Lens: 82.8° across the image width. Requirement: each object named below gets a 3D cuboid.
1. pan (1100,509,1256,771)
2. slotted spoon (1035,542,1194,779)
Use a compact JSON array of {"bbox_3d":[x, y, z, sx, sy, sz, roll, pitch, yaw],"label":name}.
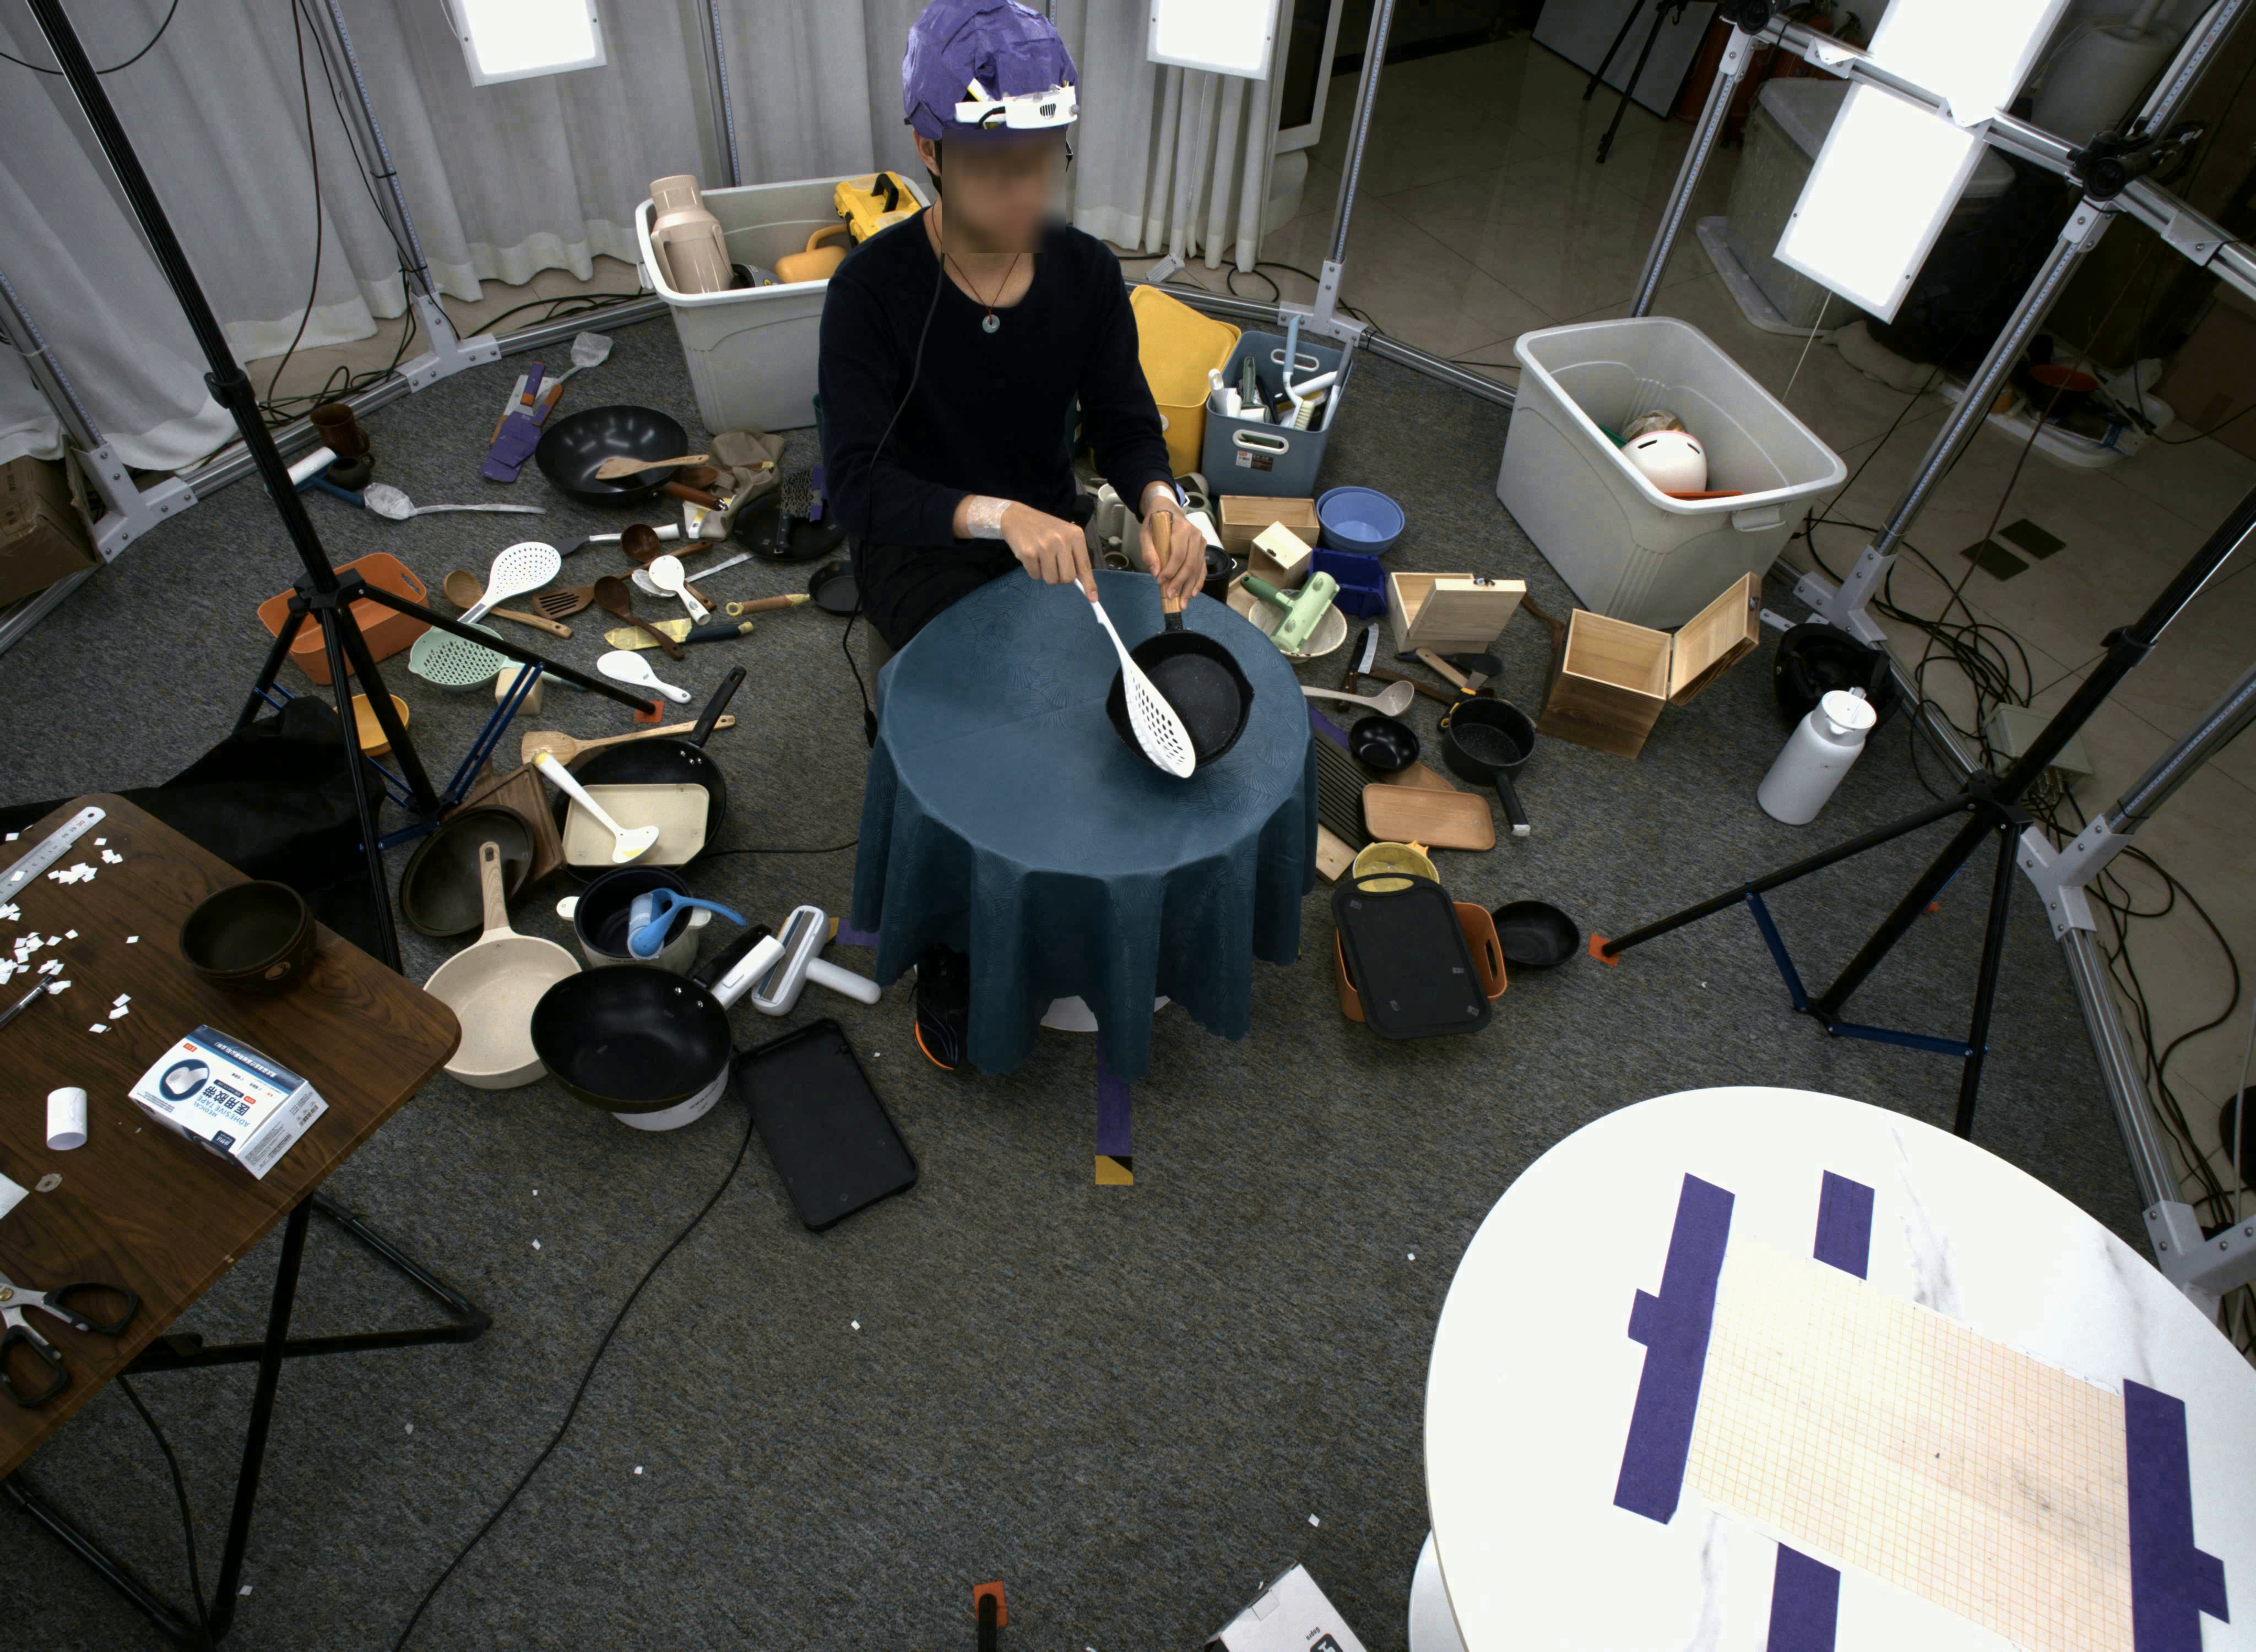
[{"bbox_3d":[0.063,-0.243,1.710,0.207,0.108,0.344,-7,86,13],"label":"pan"},{"bbox_3d":[-0.015,-0.210,1.621,0.050,0.345,0.138,-23,11,21],"label":"slotted spoon"}]
